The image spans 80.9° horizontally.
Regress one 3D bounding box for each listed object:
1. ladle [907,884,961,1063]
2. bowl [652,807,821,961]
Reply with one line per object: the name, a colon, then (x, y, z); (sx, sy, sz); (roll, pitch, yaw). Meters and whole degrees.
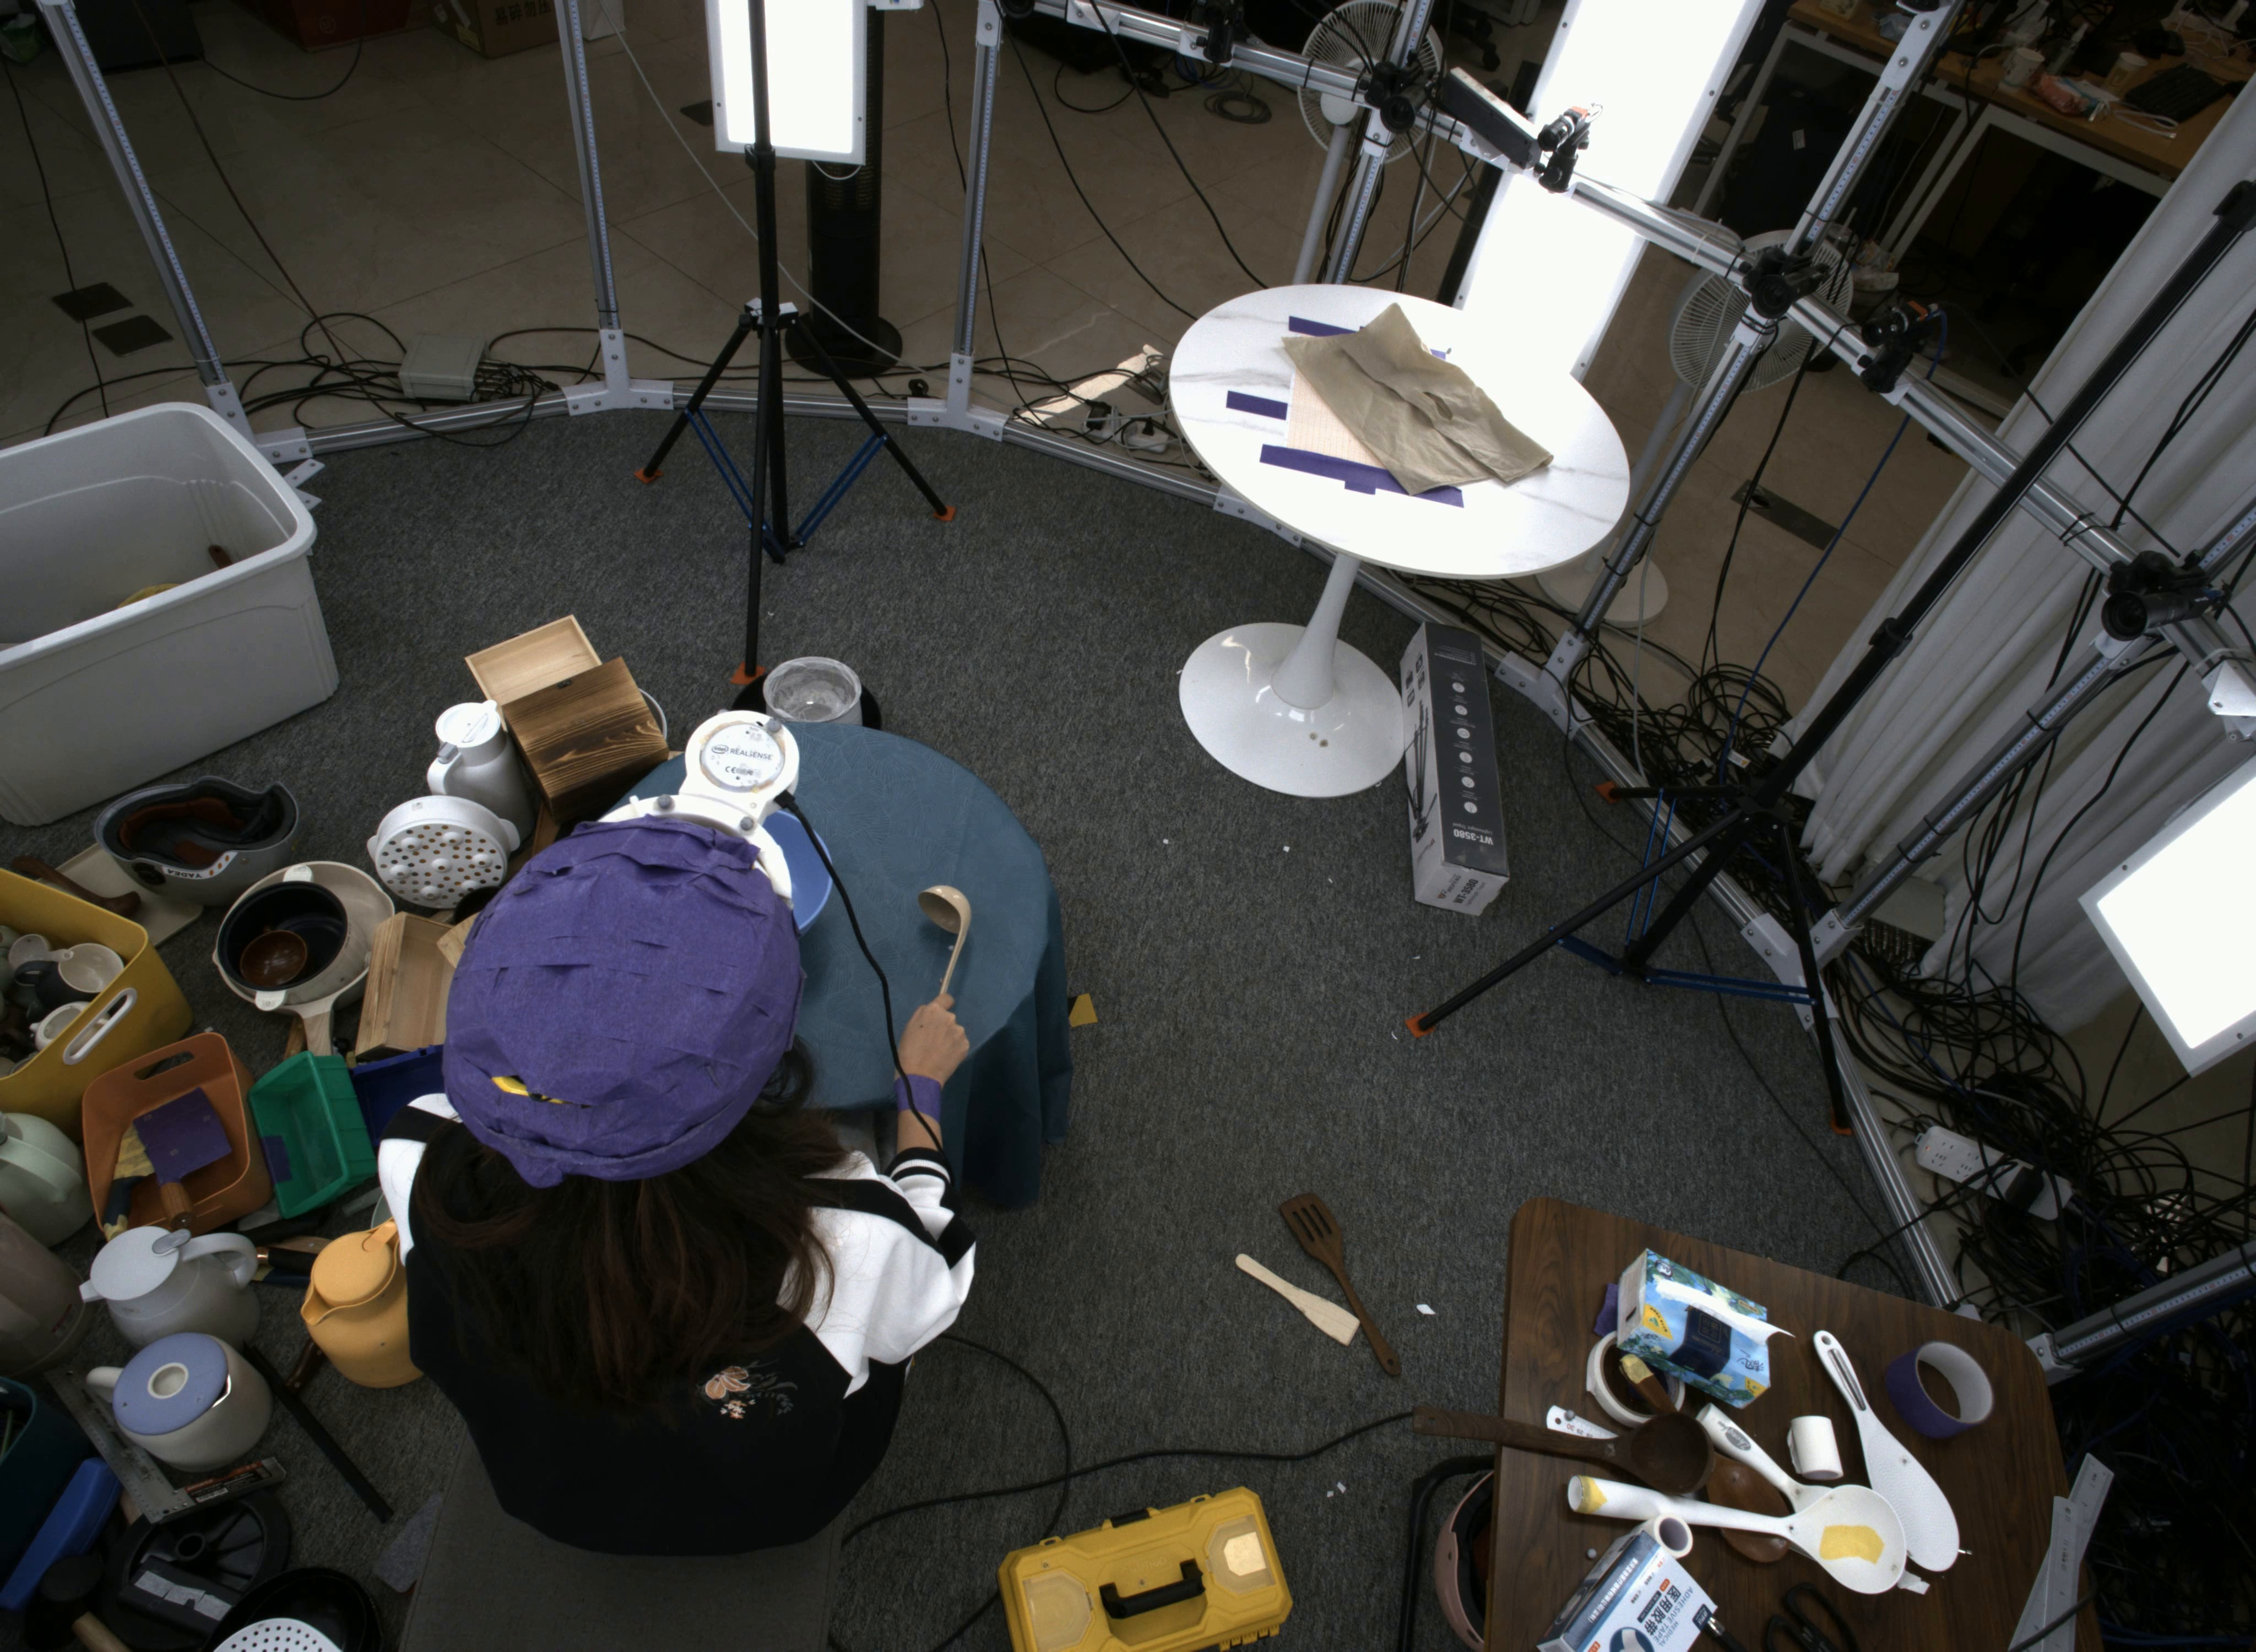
ladle: (-0.253, 0.176, 1.570); (0.071, 0.075, 0.250); (-1, 47, 8)
bowl: (-0.472, 0.083, 1.565); (0.197, 0.097, 0.193); (9, 55, -11)
